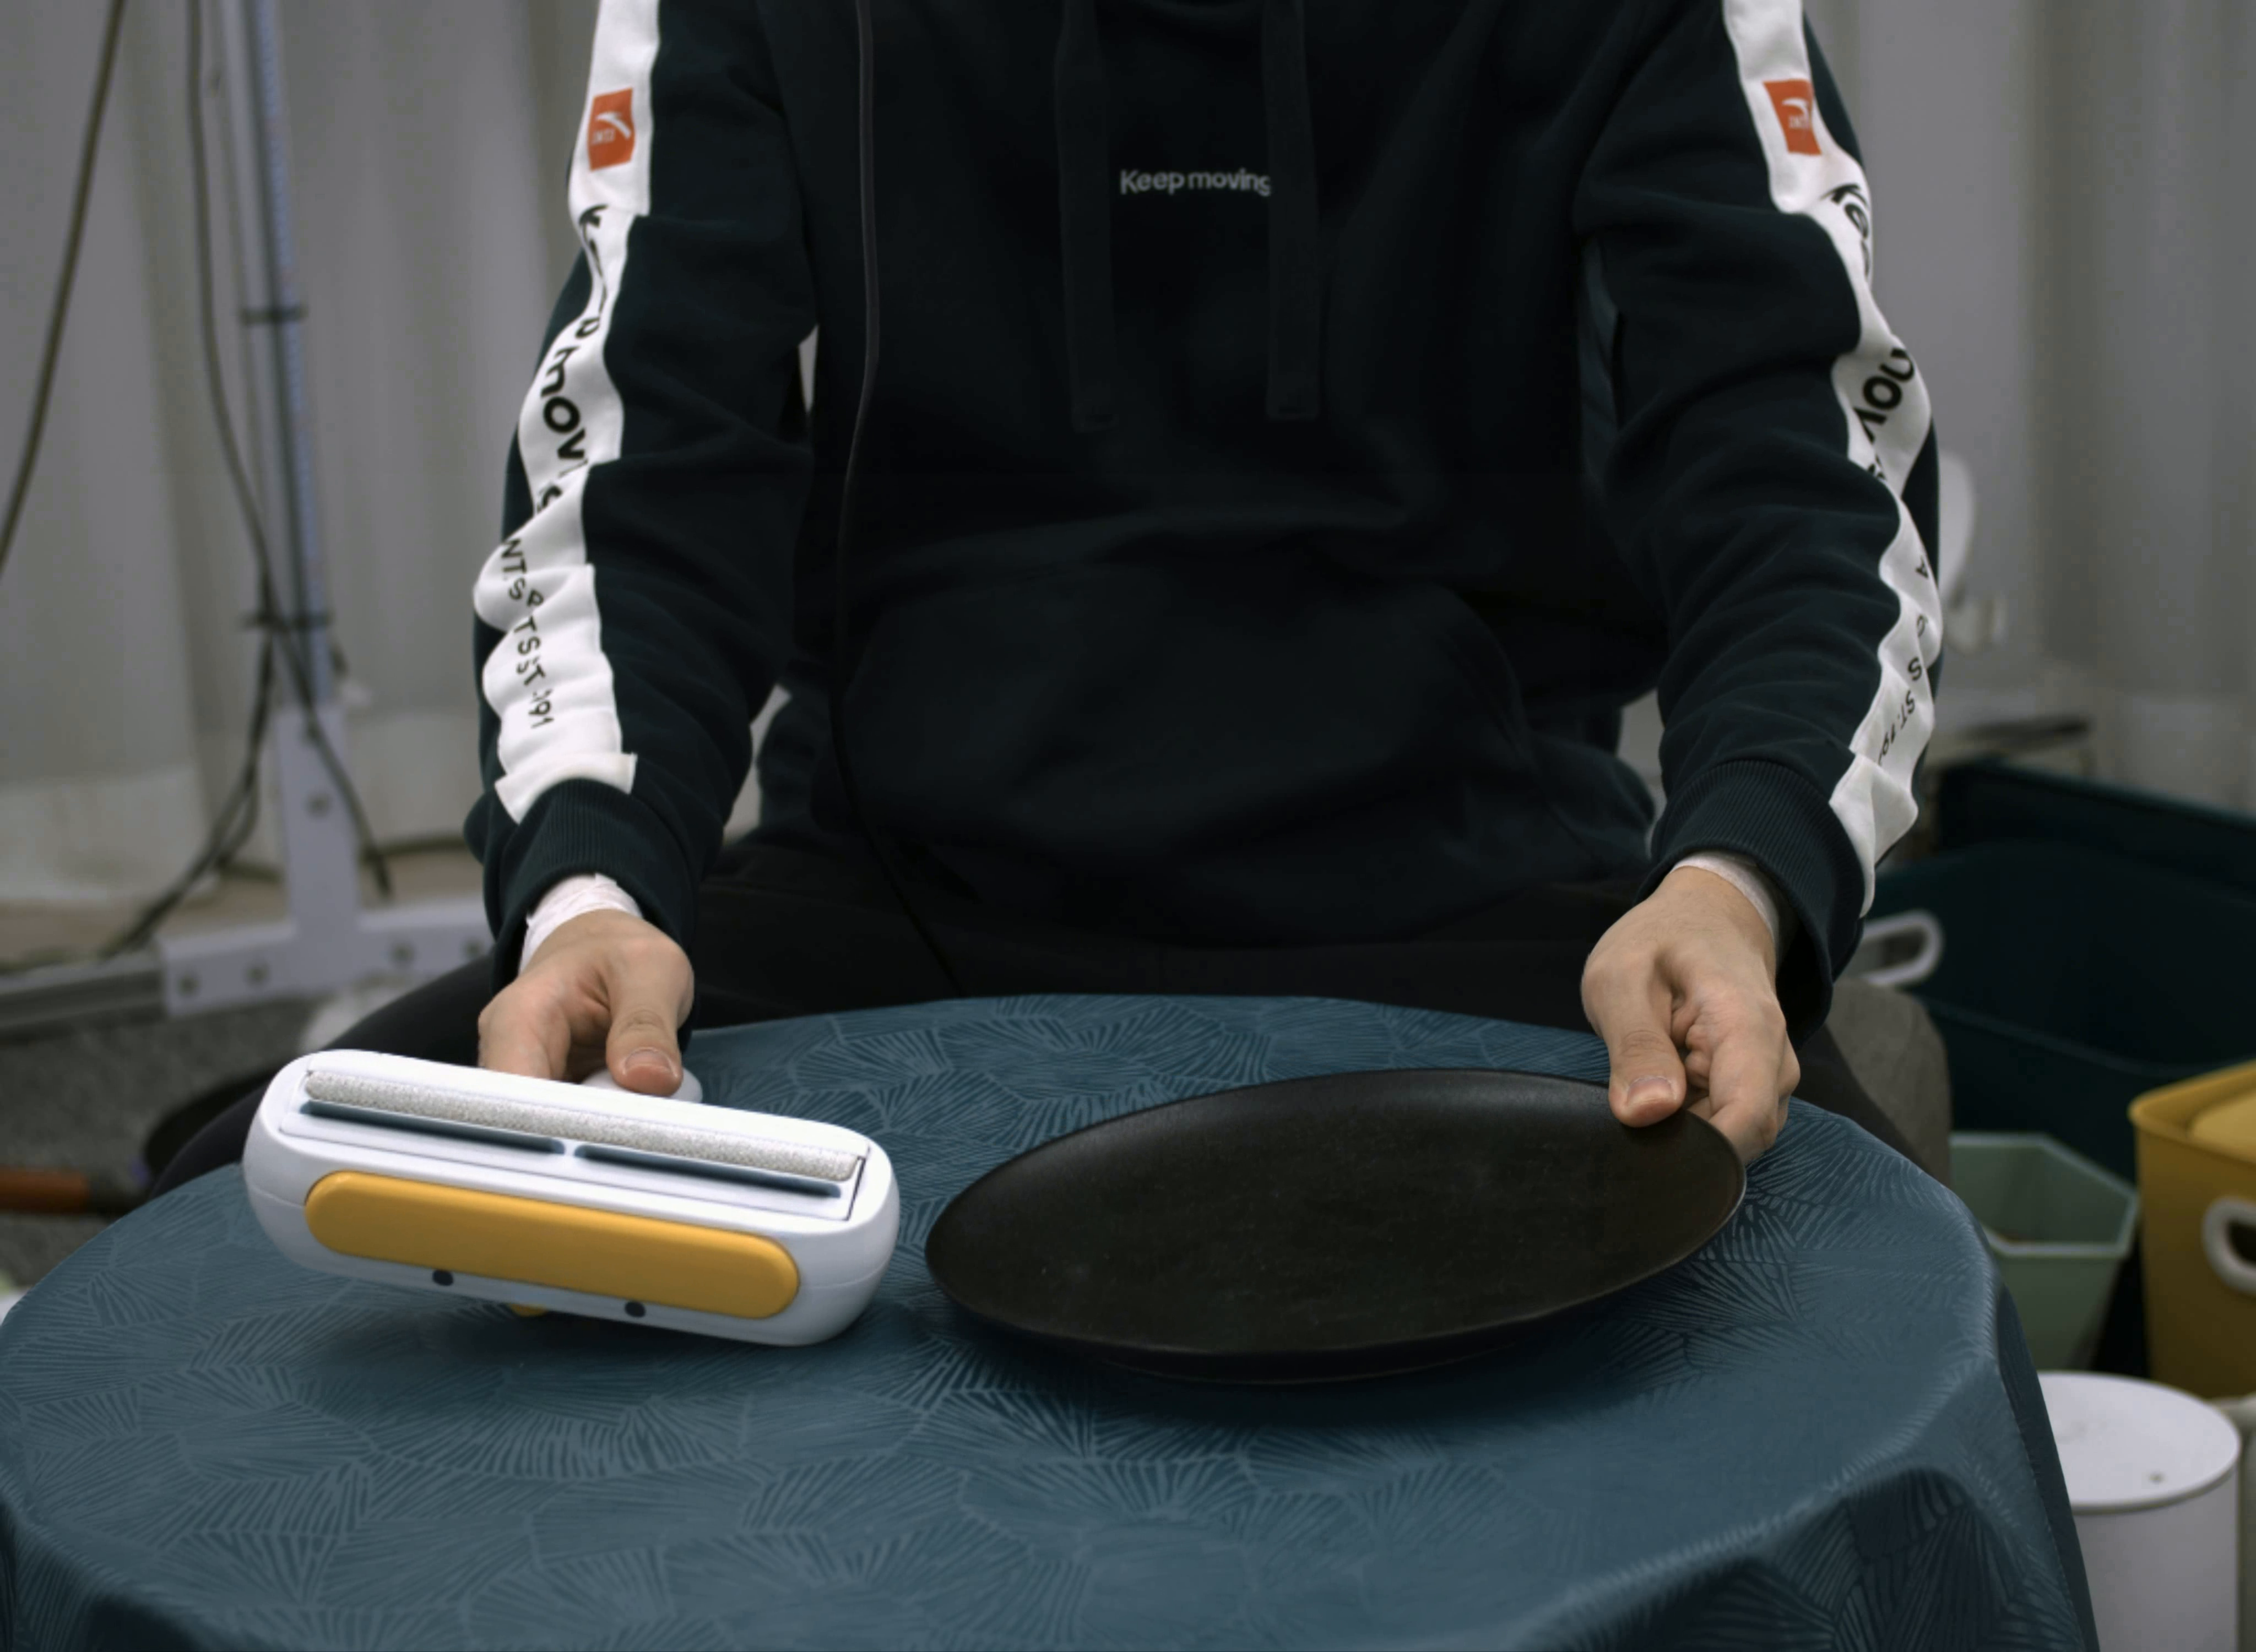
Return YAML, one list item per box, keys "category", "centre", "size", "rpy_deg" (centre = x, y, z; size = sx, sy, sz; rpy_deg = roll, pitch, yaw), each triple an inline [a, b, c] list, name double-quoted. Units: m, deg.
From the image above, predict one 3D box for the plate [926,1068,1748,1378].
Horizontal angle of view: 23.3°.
- category: "plate"
  centre: [0.062, 0.120, 1.614]
  size: [0.243, 0.023, 0.246]
  rpy_deg: [-6, 15, 1]

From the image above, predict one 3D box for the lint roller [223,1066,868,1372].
- category: "lint roller"
  centre: [-0.162, 0.115, 1.669]
  size: [0.192, 0.074, 0.192]
  rpy_deg: [8, 8, 10]
